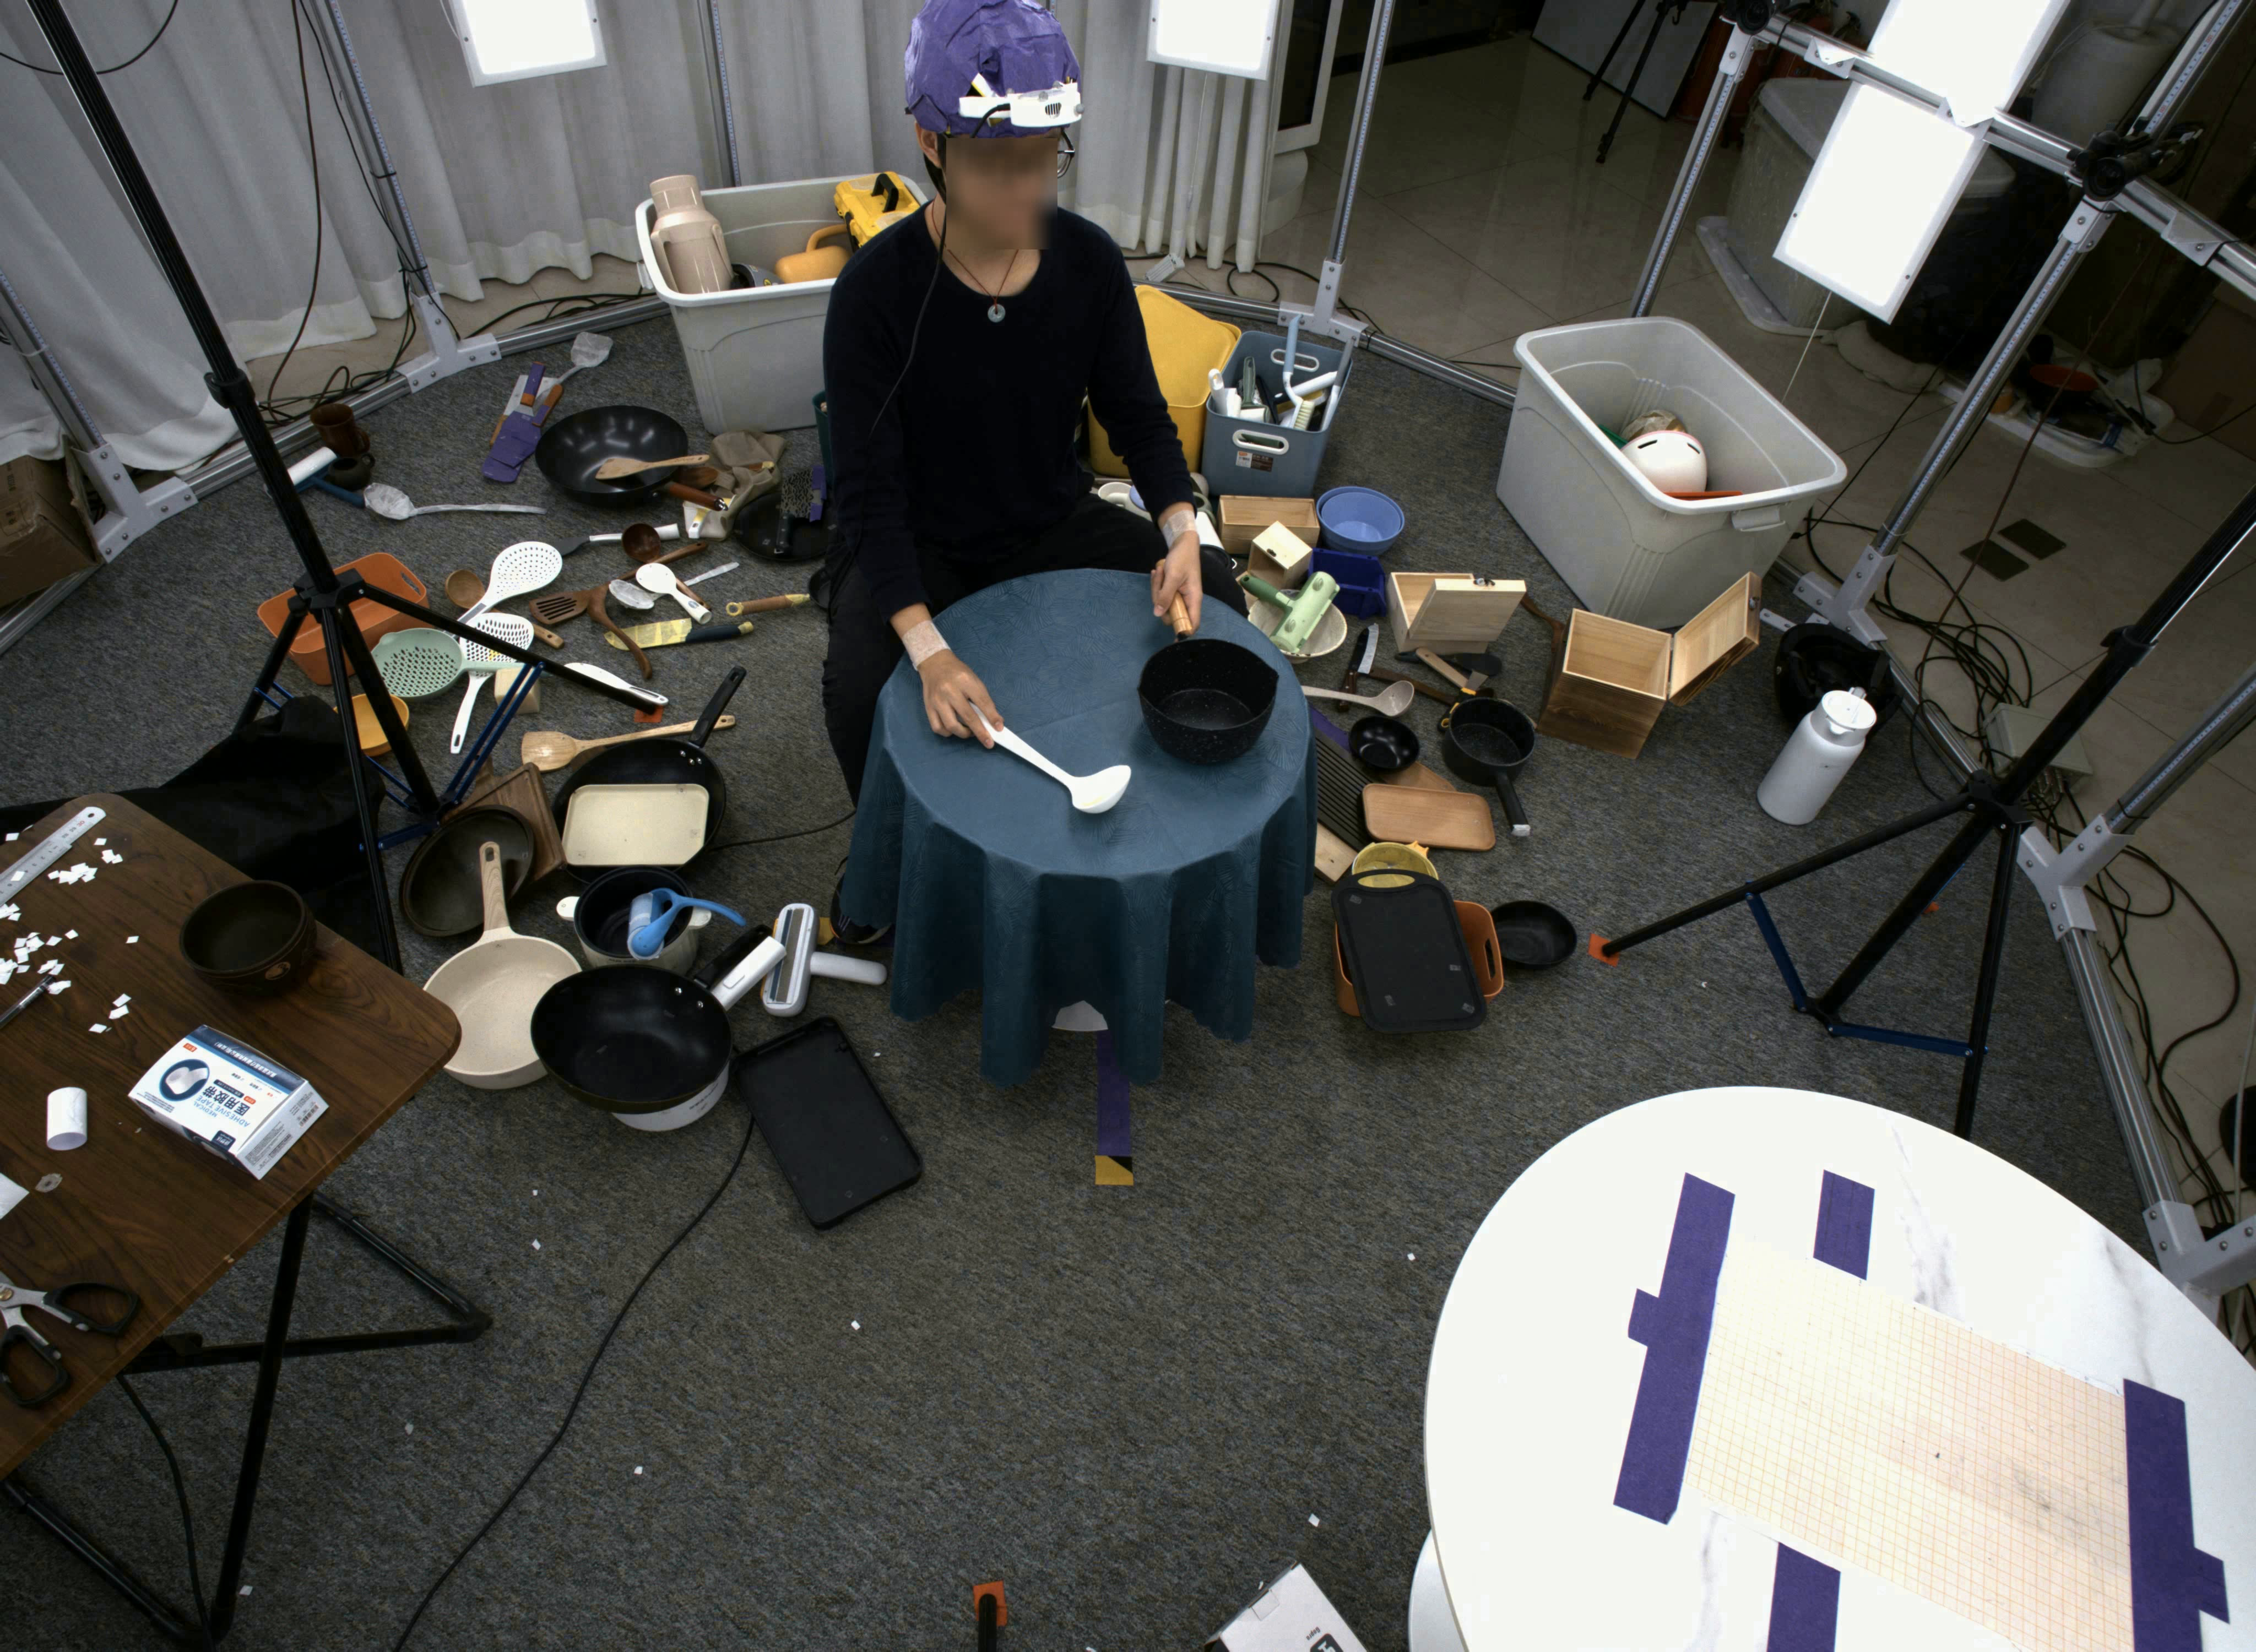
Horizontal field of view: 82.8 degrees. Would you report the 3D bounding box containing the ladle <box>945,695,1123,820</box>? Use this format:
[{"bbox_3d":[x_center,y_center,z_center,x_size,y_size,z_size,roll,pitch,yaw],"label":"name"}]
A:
[{"bbox_3d":[-0.131,-0.099,1.702,0.296,0.068,0.091,35,69,22],"label":"ladle"}]

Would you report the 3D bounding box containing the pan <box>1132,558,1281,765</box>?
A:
[{"bbox_3d":[0.088,-0.233,1.808,0.207,0.105,0.351,-10,50,-11],"label":"pan"}]
